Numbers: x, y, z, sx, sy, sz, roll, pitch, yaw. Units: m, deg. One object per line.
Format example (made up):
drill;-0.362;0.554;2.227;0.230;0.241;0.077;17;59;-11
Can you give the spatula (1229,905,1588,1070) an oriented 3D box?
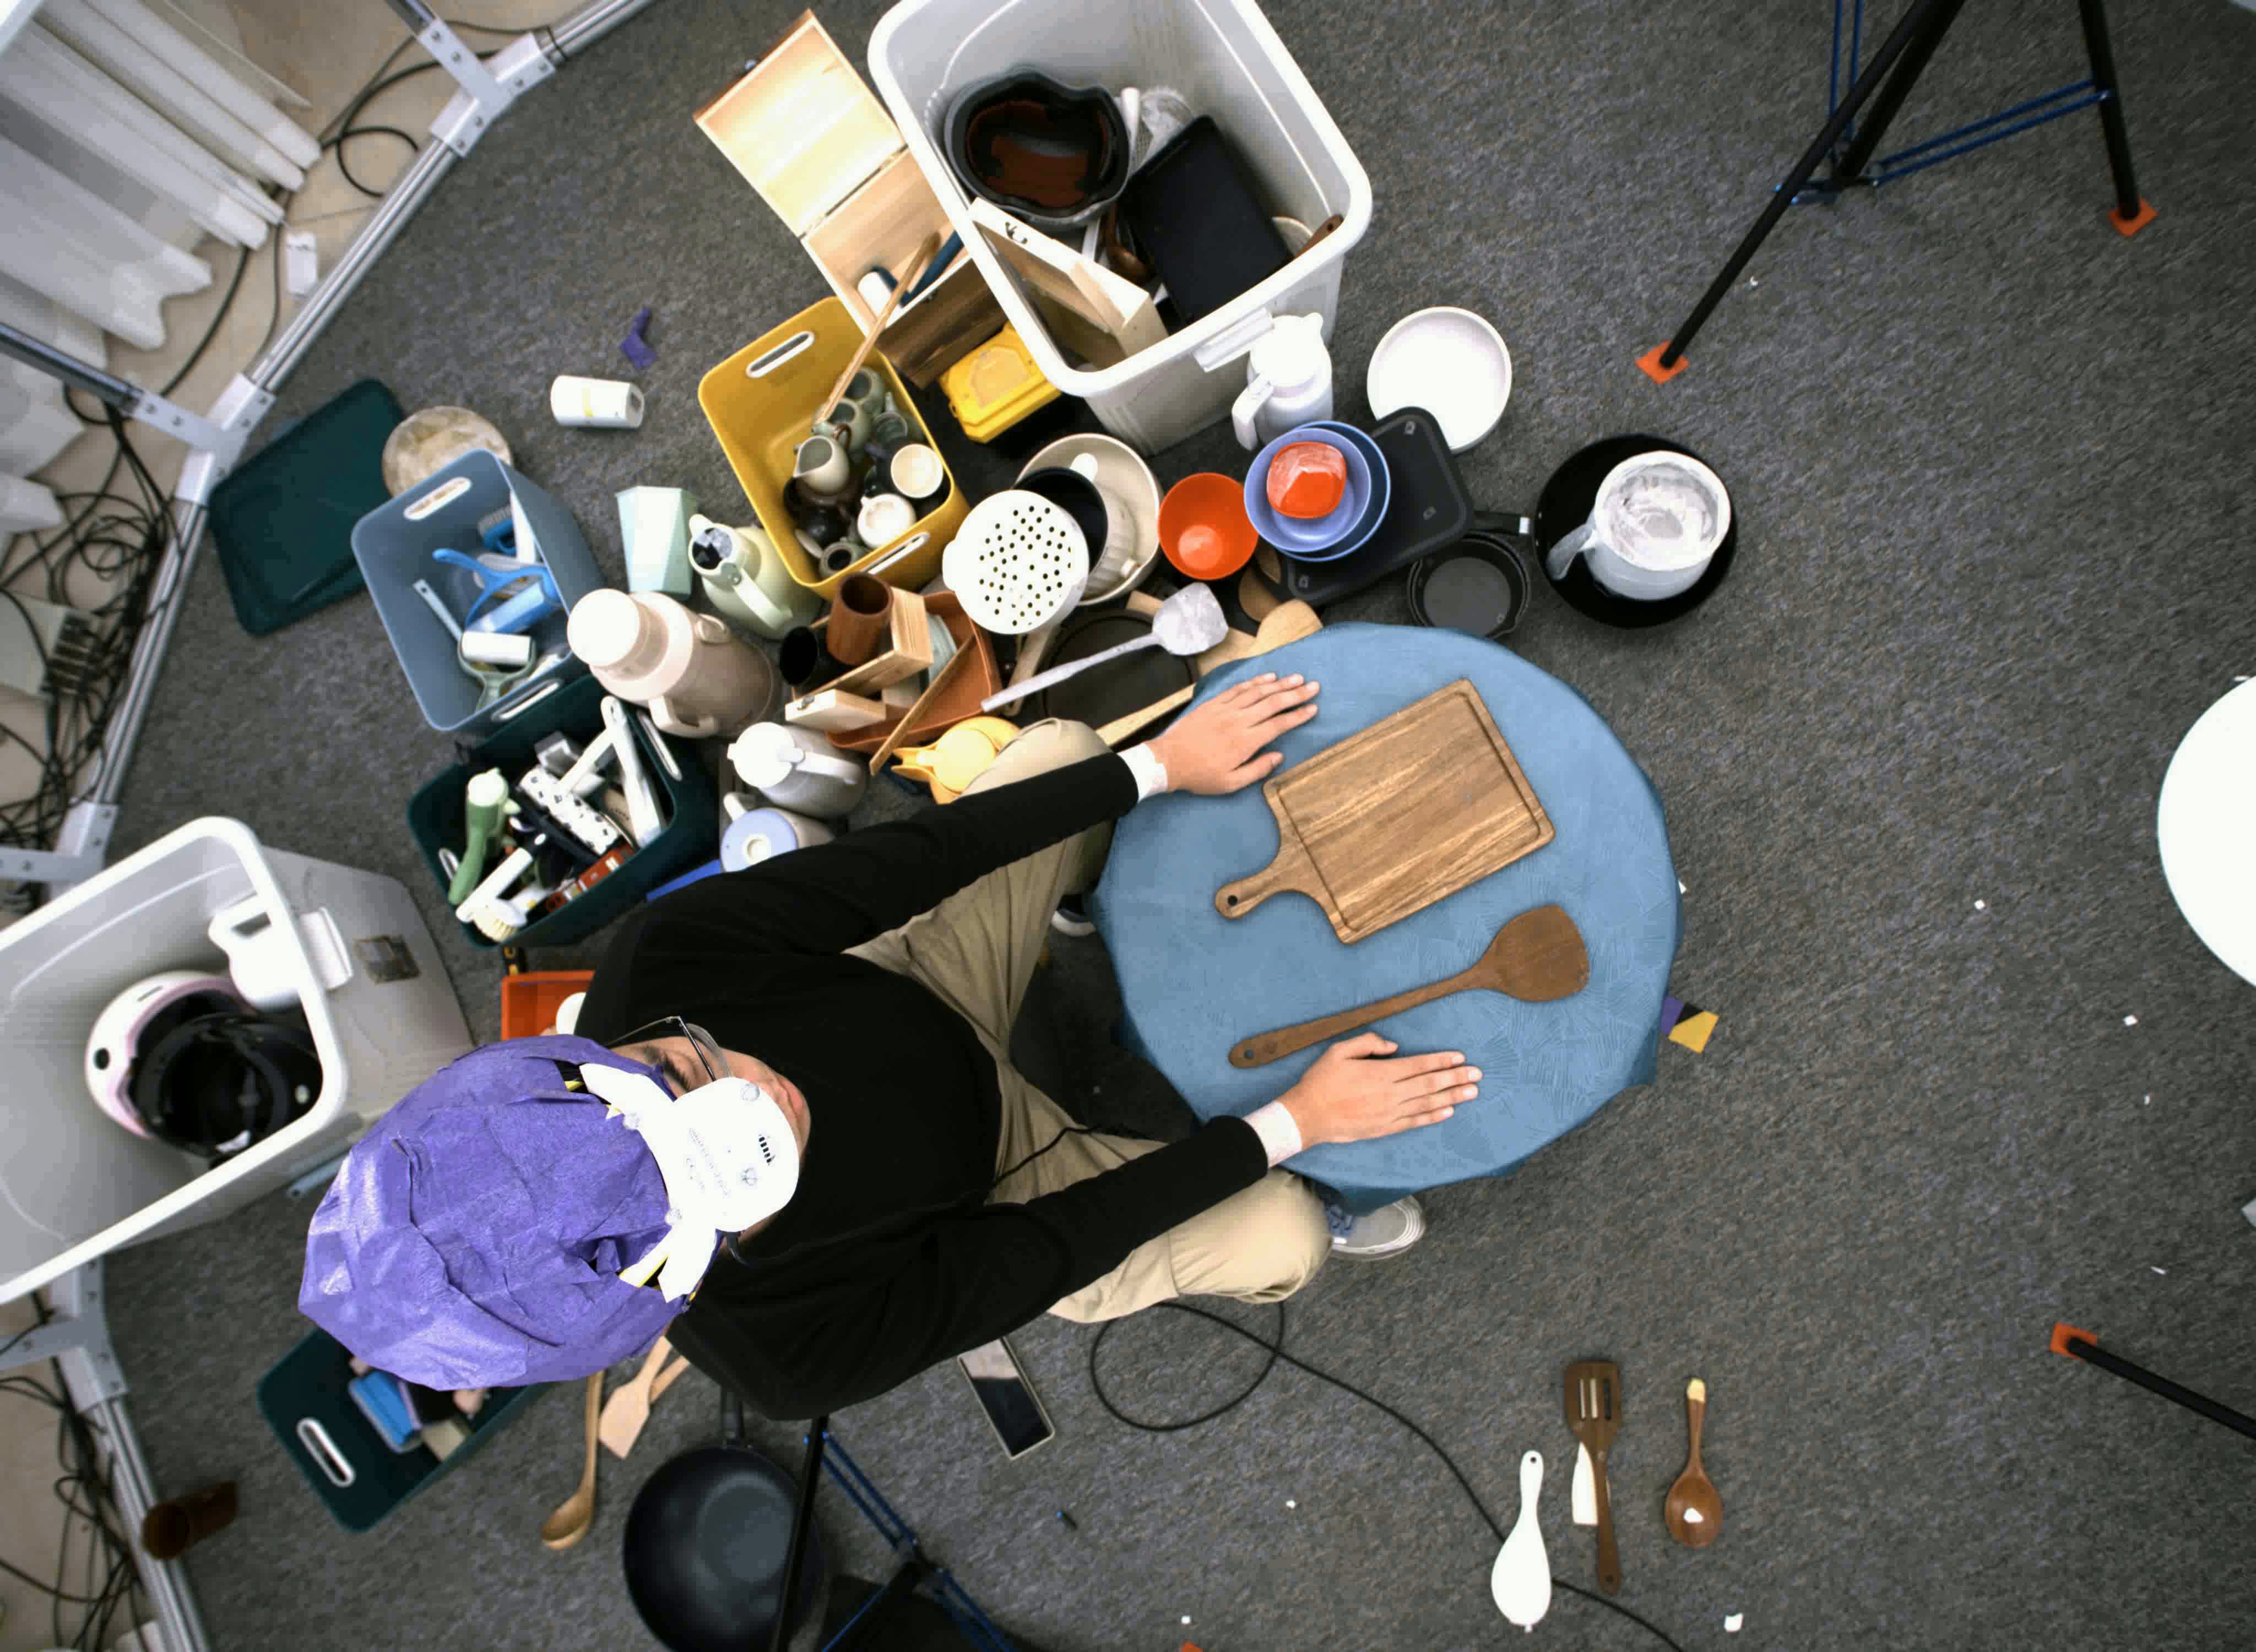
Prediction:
spatula;0.287;0.183;1.443;0.388;0.016;0.095;-20;83;9

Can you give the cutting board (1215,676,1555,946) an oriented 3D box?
cutting board;0.248;0.006;1.457;0.354;0.023;0.200;-29;82;8
